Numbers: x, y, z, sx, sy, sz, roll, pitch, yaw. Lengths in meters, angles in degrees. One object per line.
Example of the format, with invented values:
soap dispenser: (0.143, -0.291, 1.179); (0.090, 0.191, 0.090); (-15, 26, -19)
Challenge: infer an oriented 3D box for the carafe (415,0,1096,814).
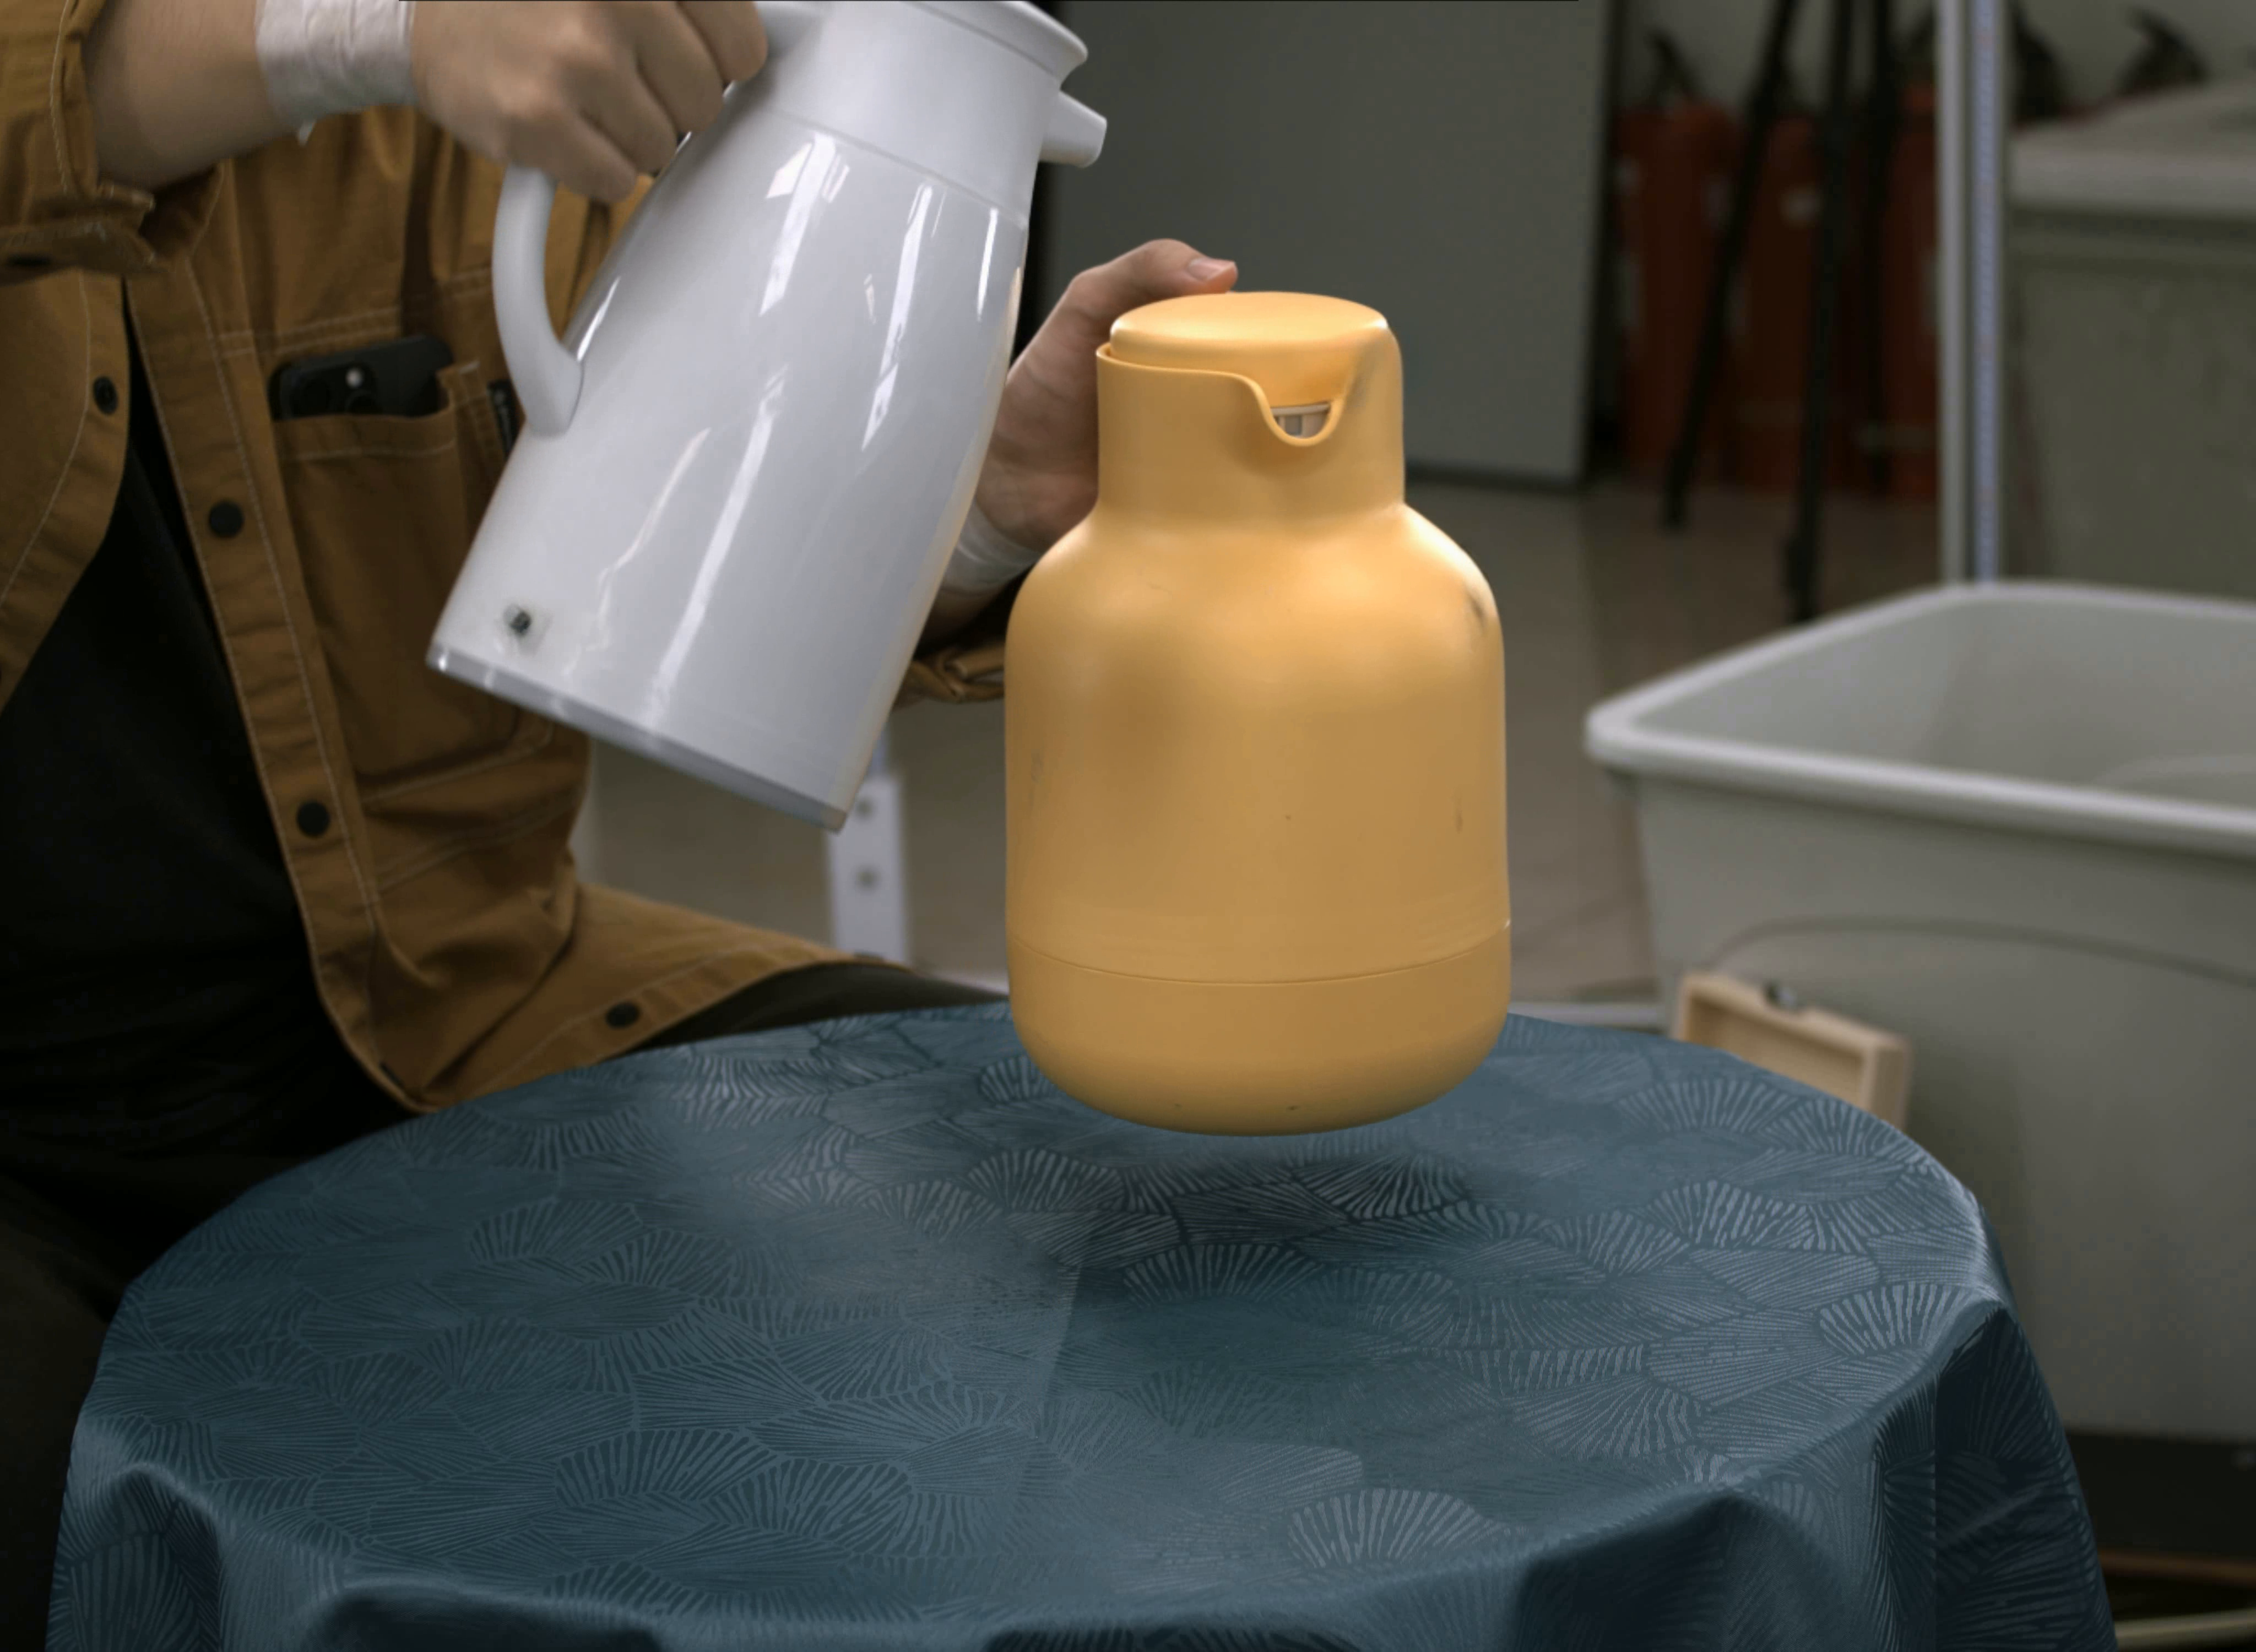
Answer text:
carafe: (-0.113, -0.150, 1.559); (0.164, 0.251, 0.134); (23, -2, -30)

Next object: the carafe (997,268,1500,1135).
carafe: (0.036, -0.048, 1.733); (0.160, 0.263, 0.203); (-2, 14, -9)
